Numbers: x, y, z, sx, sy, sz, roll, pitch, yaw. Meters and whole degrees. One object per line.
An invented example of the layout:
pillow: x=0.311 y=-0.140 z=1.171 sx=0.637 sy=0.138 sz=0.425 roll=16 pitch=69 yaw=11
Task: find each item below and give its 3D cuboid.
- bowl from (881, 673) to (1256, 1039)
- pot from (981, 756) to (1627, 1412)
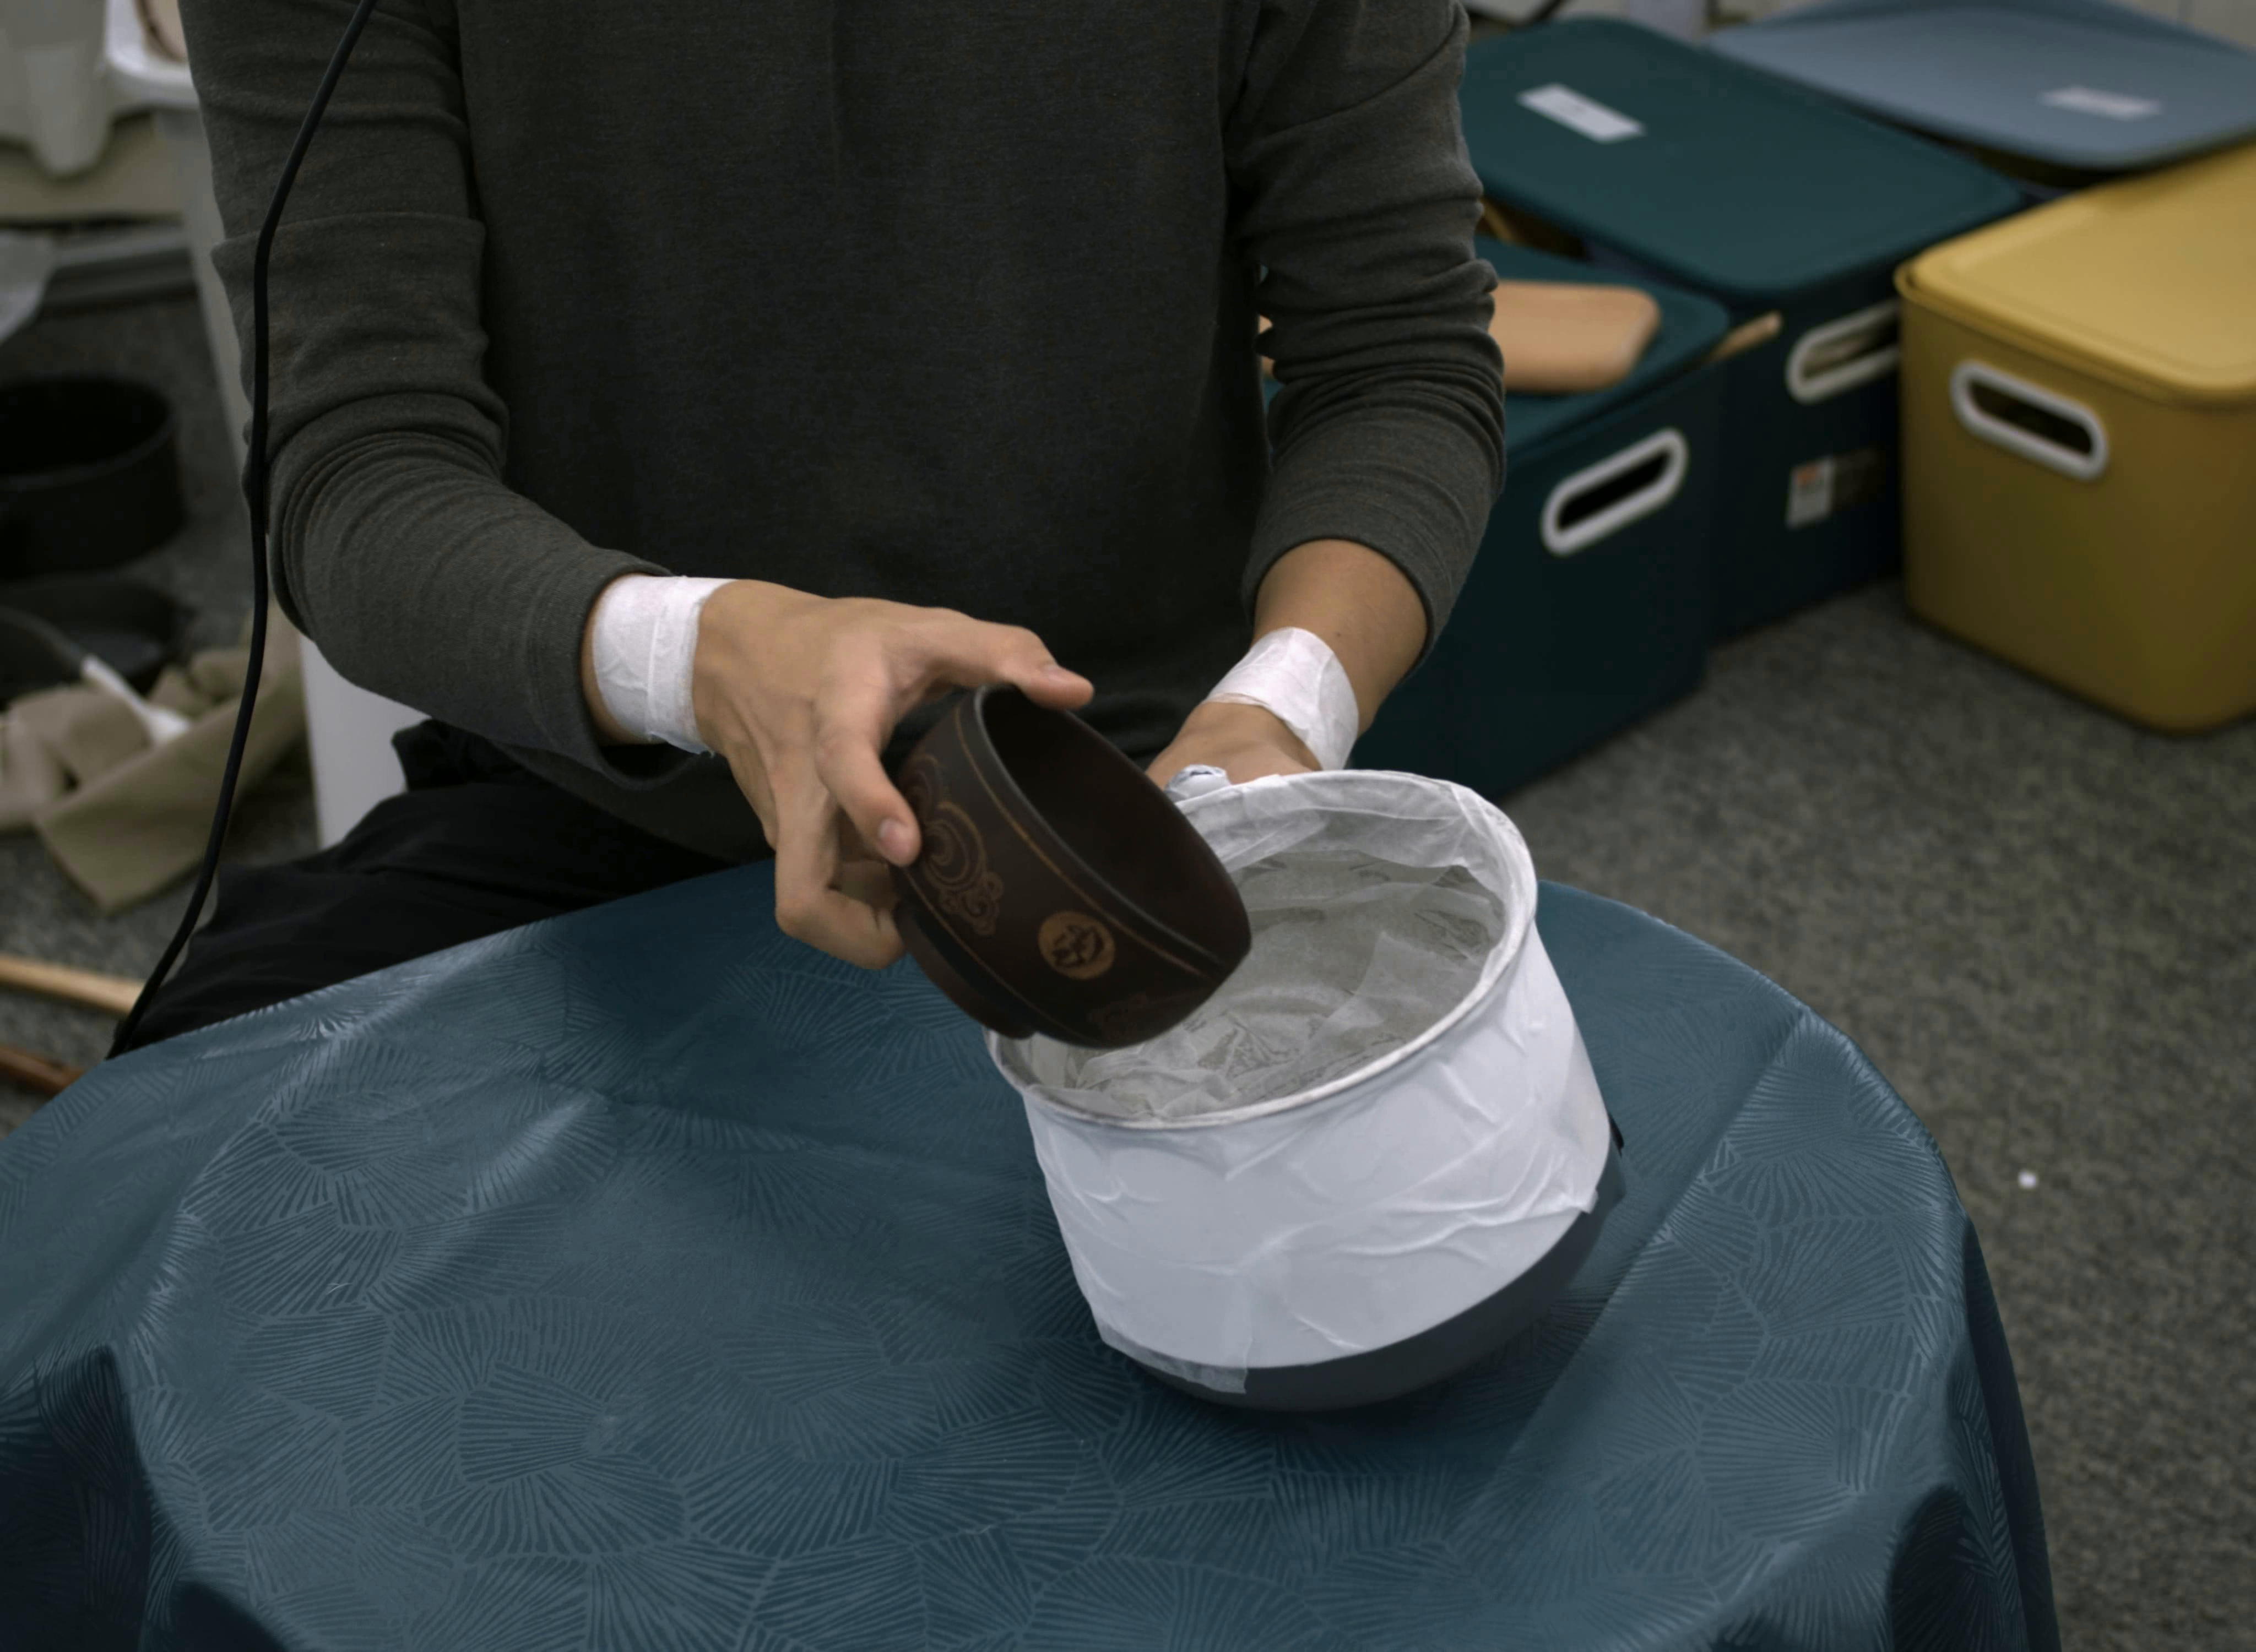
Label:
bowl: x=-0.026 y=0.018 z=1.688 sx=0.117 sy=0.069 sz=0.119 roll=39 pitch=15 yaw=-12
pot: x=0.051 y=0.071 z=1.773 sx=0.178 sy=0.135 sz=0.237 roll=-19 pitch=32 yaw=-2
